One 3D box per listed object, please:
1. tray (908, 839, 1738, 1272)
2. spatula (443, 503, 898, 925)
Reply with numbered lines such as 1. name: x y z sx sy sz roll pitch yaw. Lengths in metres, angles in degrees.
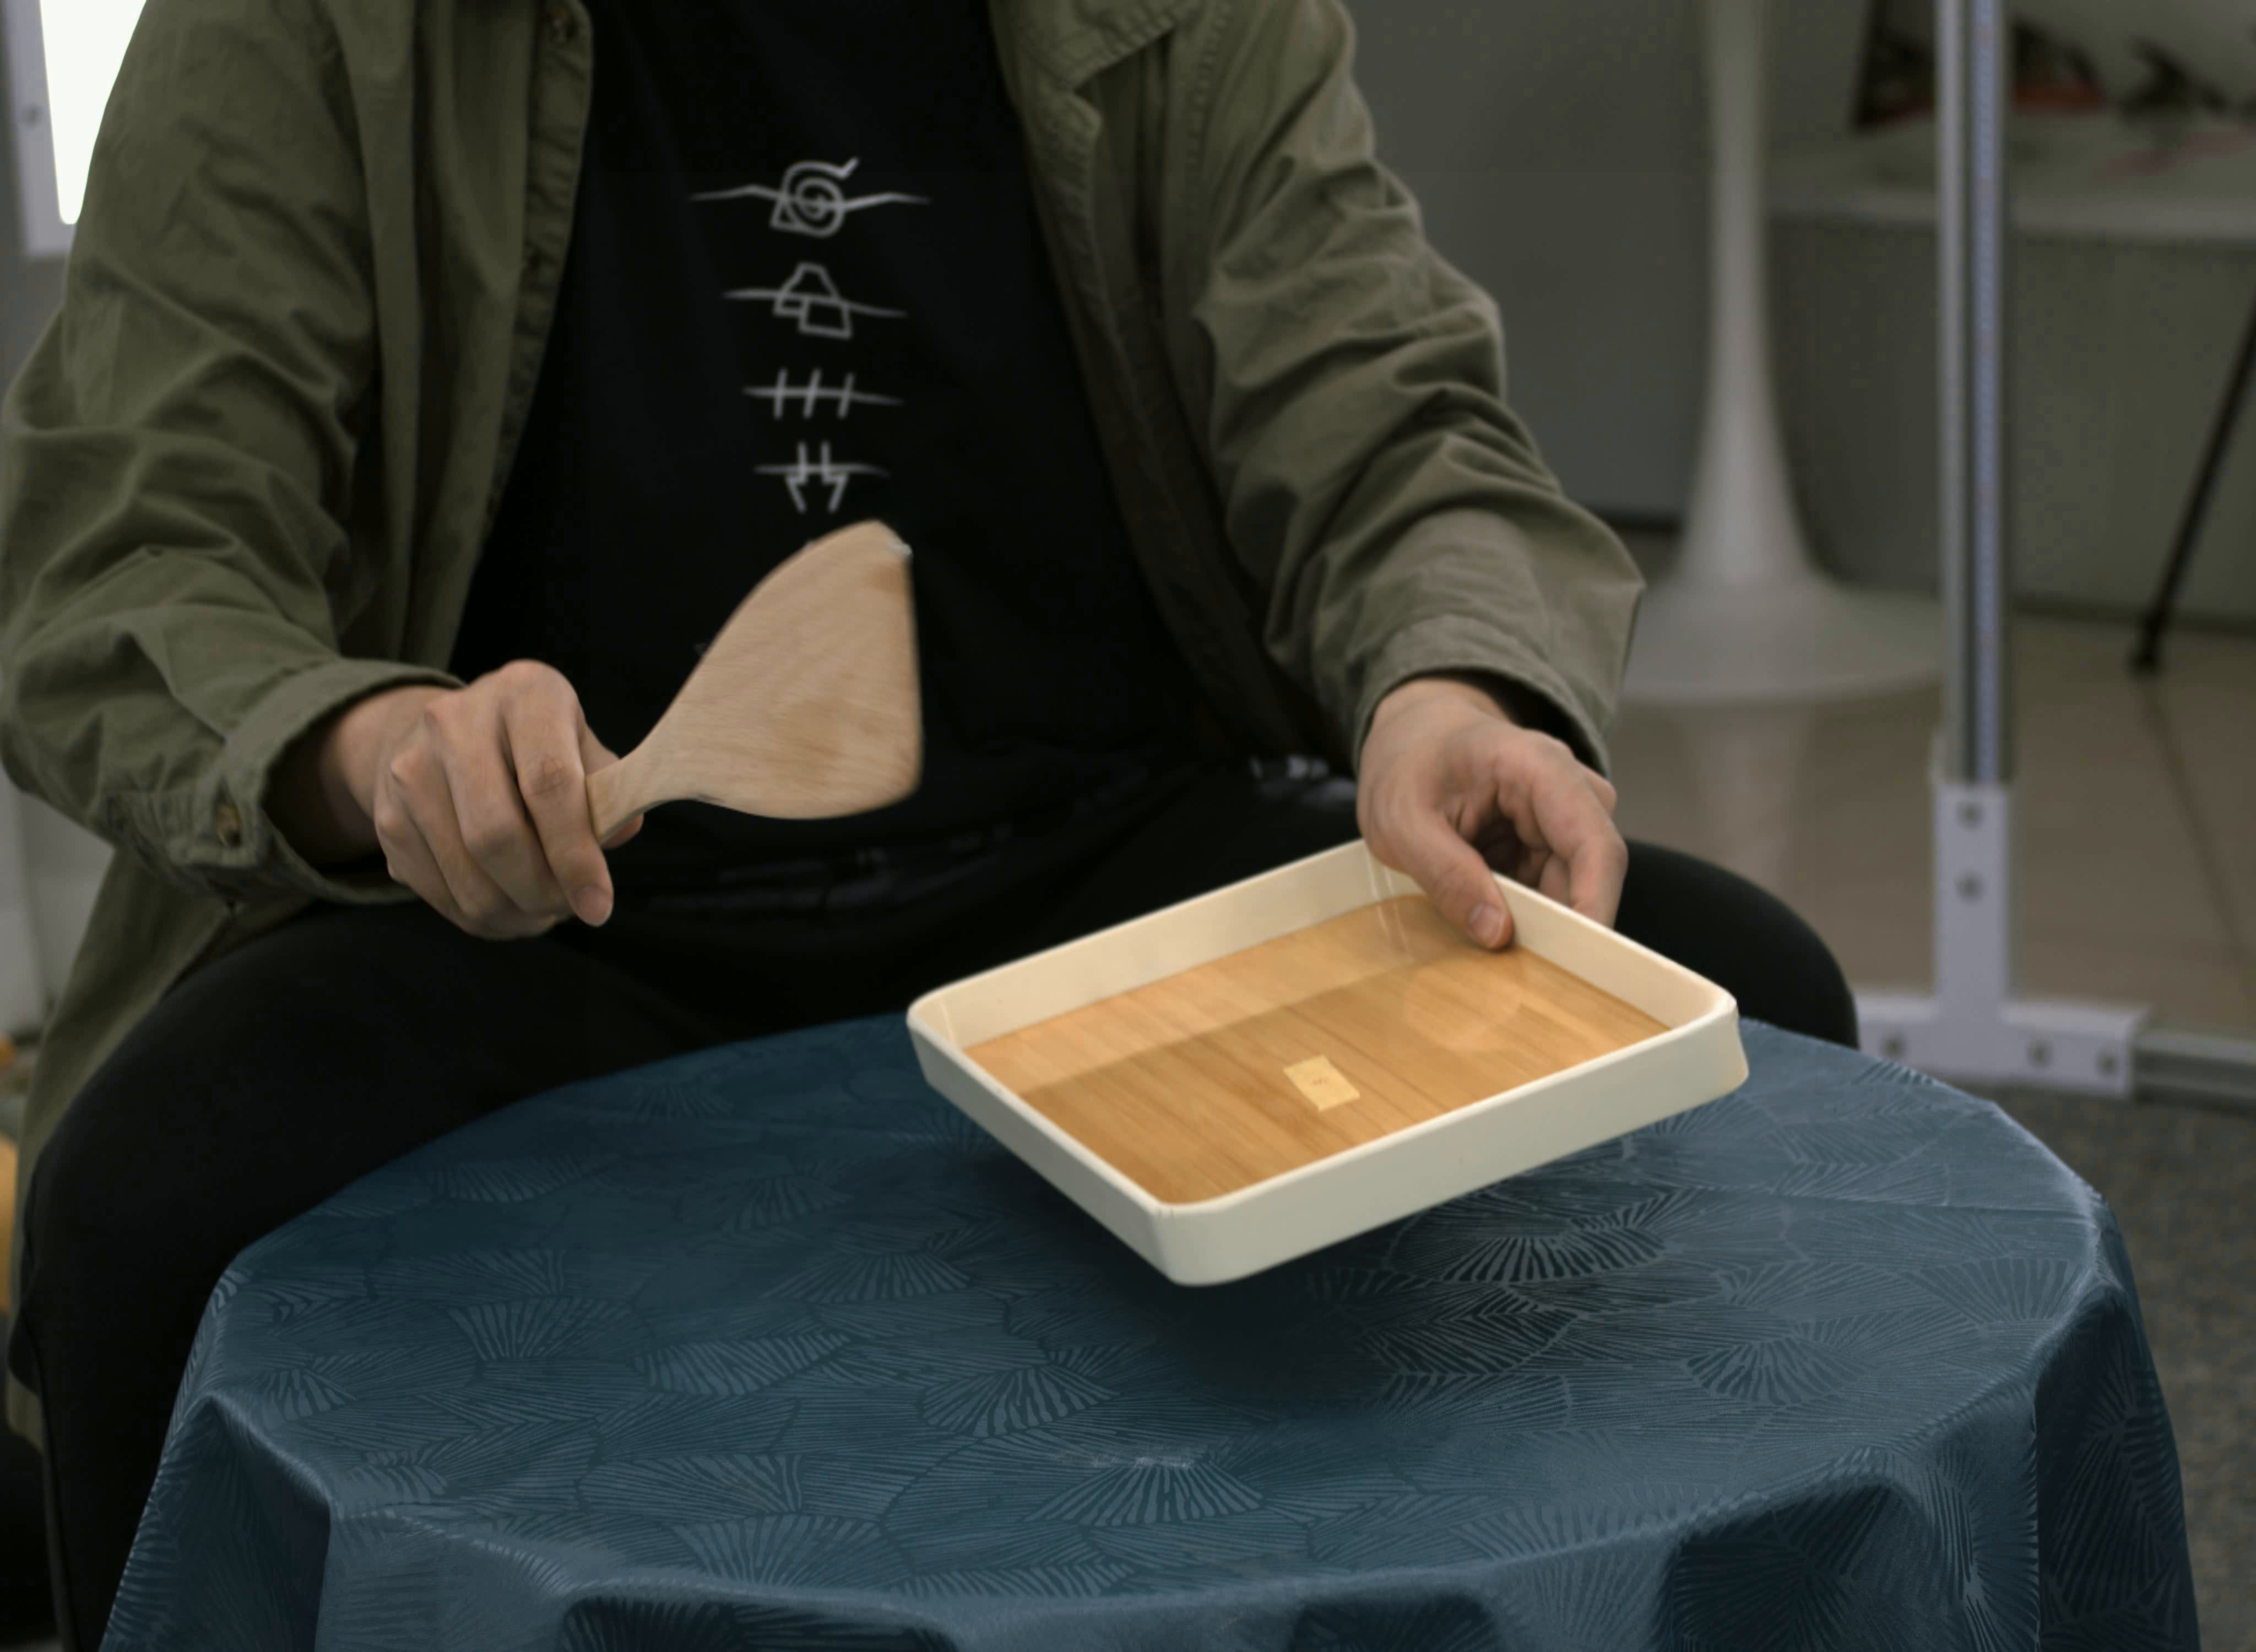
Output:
1. tray: 0.054 0.067 1.691 0.188 0.027 0.302 -19 13 -13
2. spatula: -0.144 -0.016 1.639 0.016 0.081 0.330 -6 -11 -29
